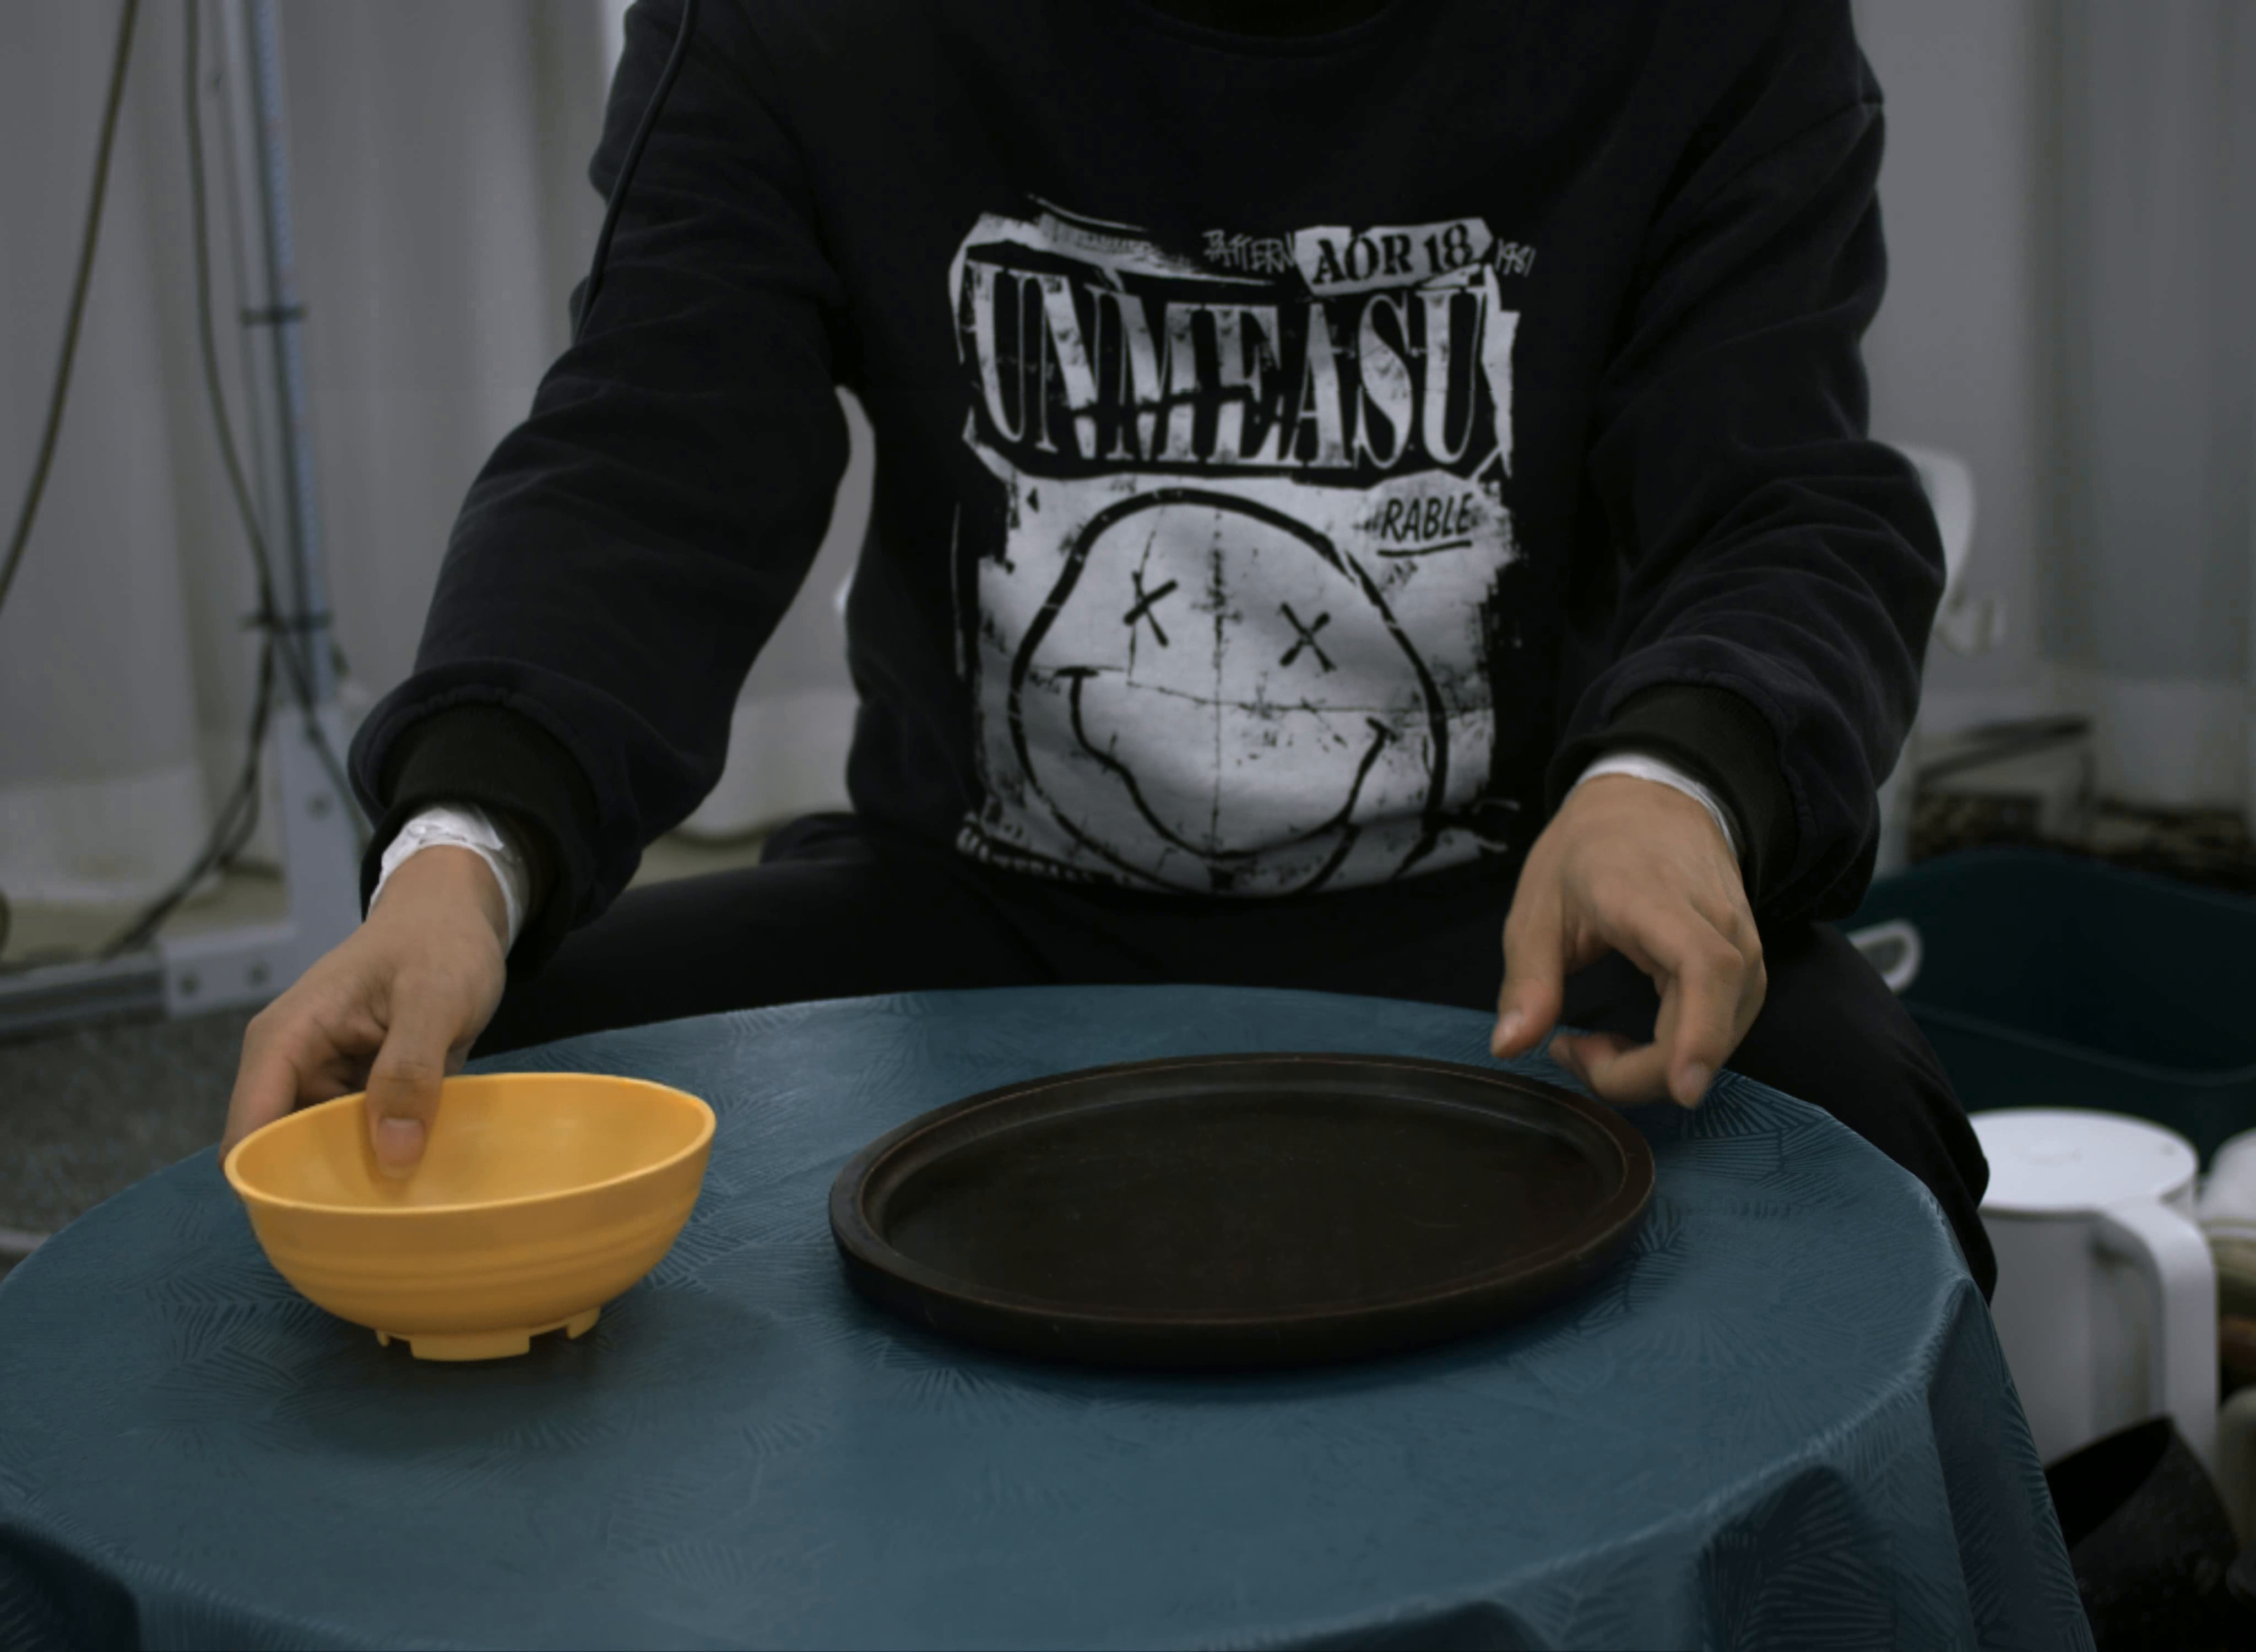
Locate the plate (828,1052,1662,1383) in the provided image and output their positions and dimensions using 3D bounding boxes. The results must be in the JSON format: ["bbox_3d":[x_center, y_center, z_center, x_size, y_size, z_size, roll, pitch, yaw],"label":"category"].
[{"bbox_3d":[0.035,0.116,1.658,0.254,0.029,0.256,-4,14,1],"label":"plate"}]

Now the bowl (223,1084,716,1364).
[{"bbox_3d":[-0.192,0.121,1.613,0.145,0.060,0.146,-3,11,0],"label":"bowl"}]
